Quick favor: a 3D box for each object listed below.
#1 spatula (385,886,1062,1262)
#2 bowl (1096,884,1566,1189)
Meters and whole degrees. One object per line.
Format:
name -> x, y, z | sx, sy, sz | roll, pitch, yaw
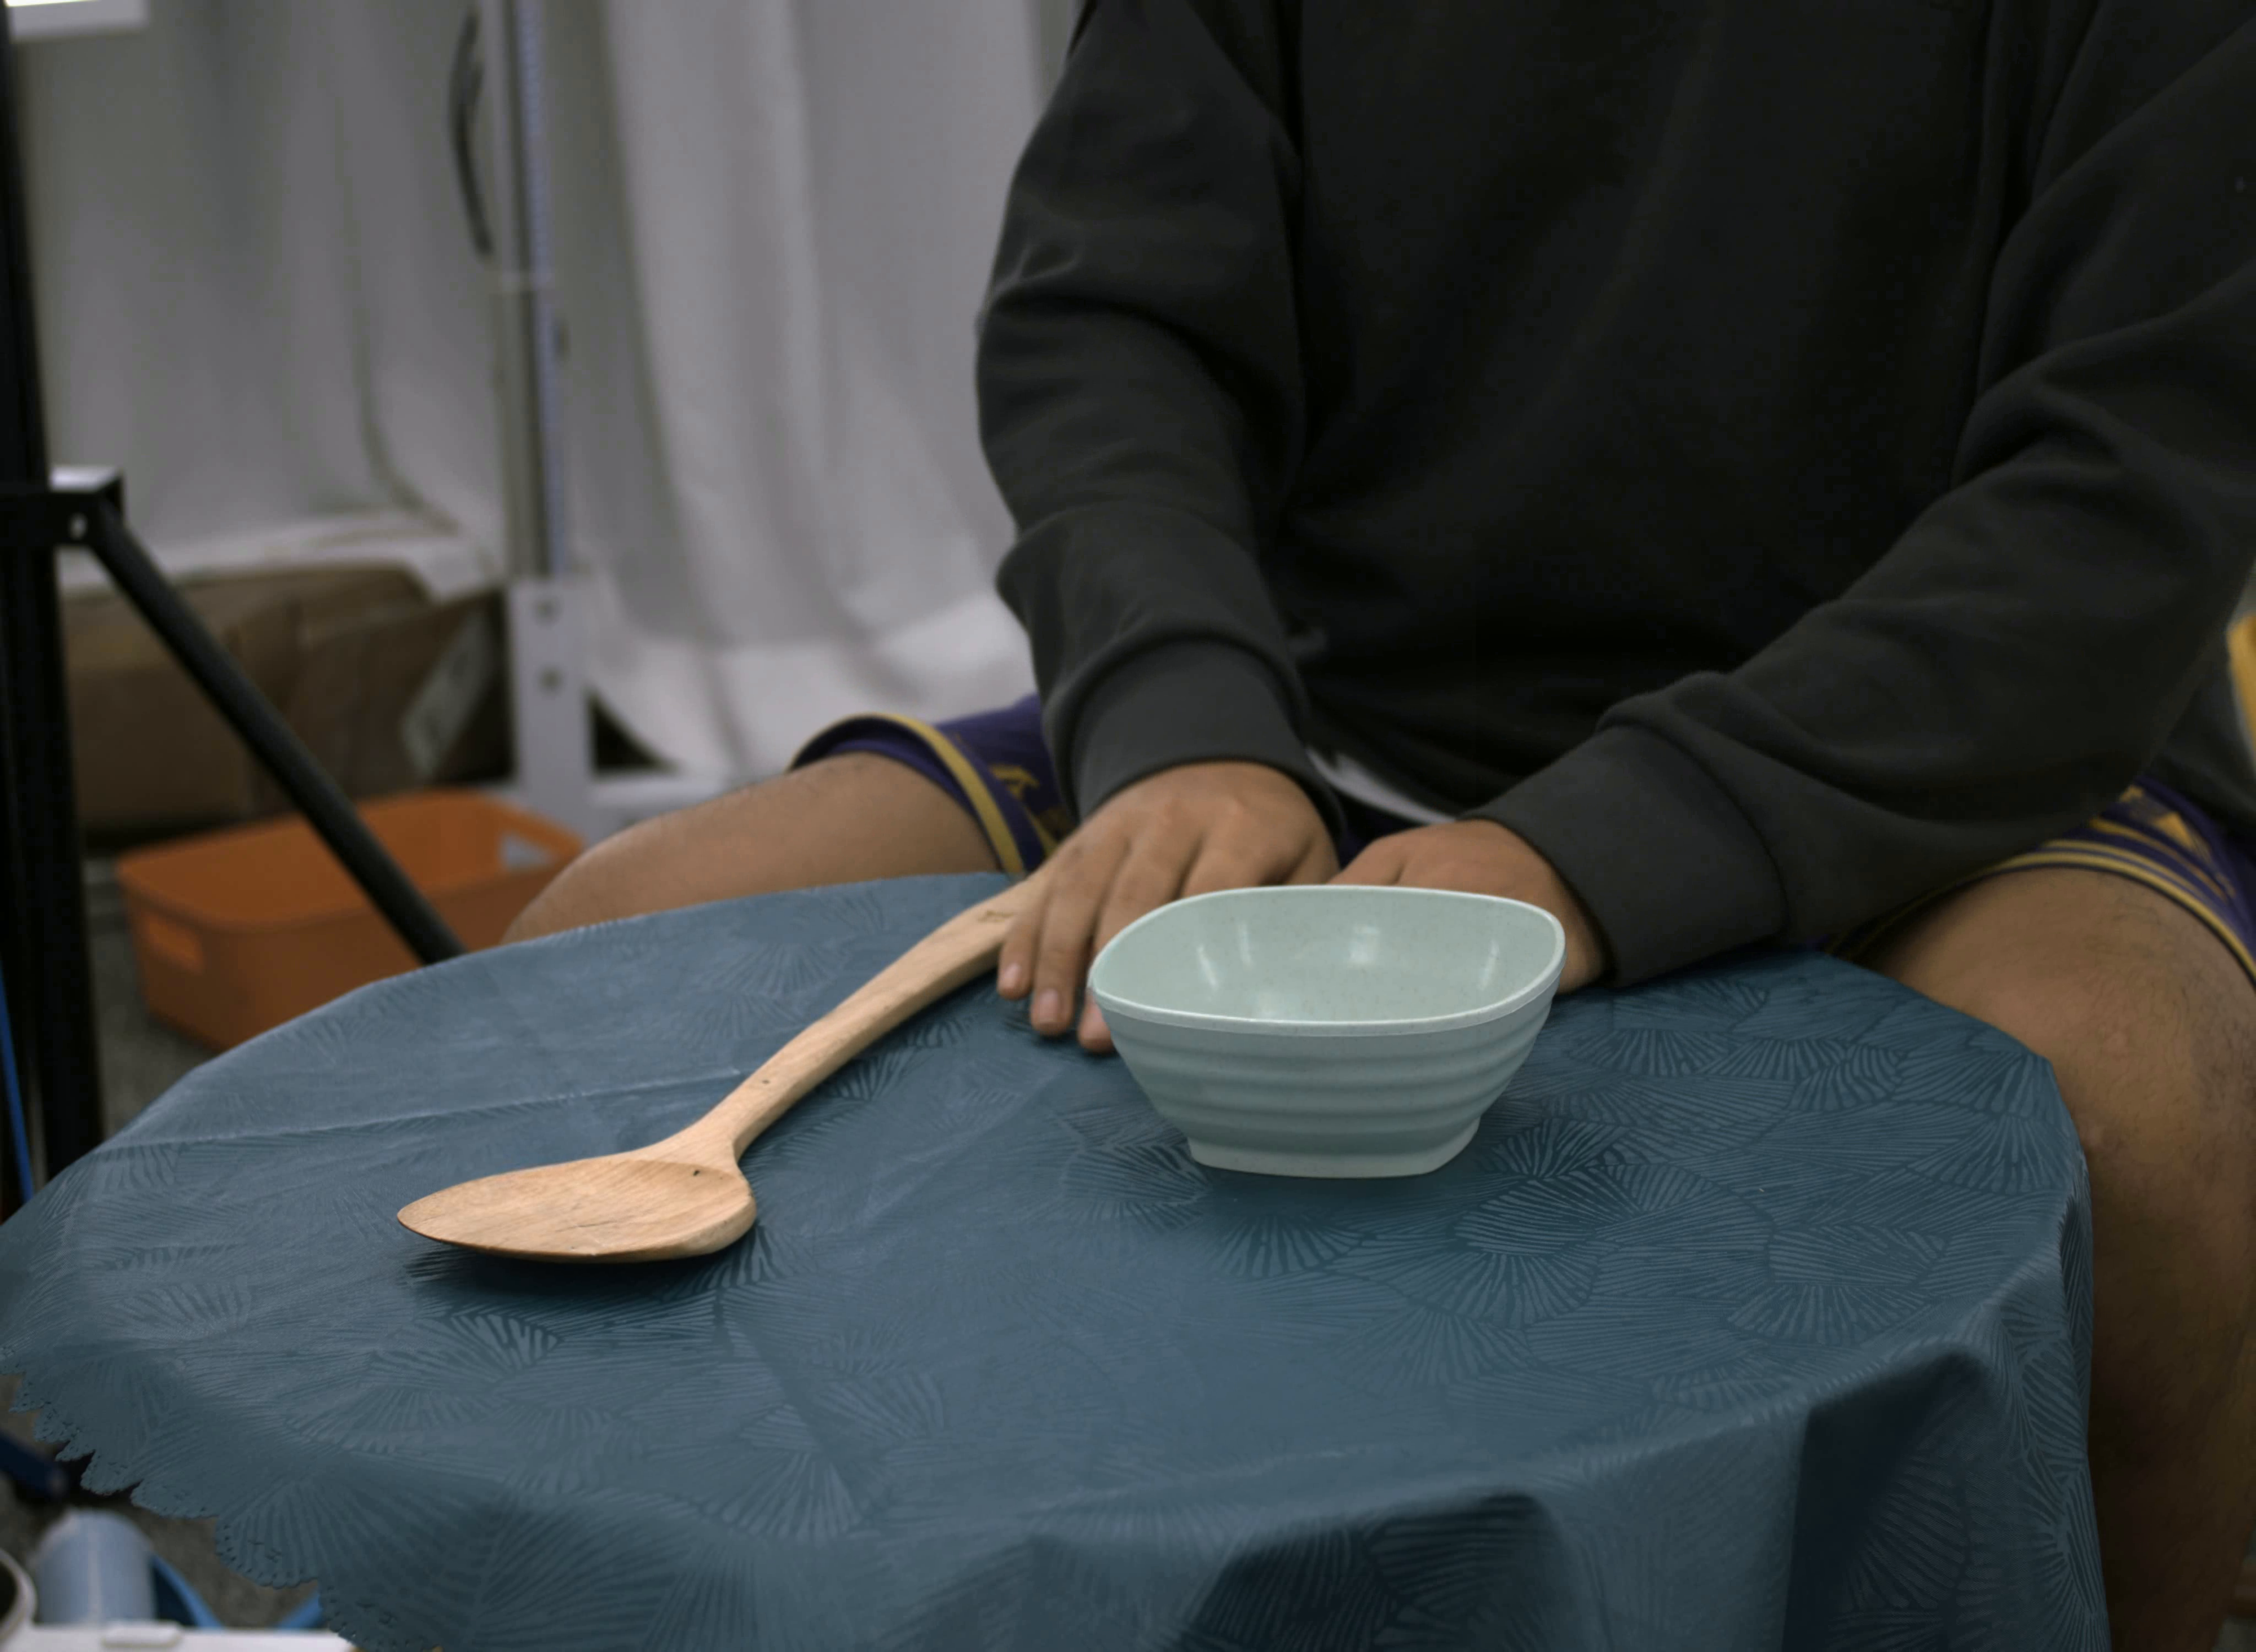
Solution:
spatula -> -0.105, 0.072, 1.671 | 0.097, 0.018, 0.386 | 6, 18, 21
bowl -> 0.062, 0.067, 1.597 | 0.151, 0.058, 0.152 | -3, 17, -1
